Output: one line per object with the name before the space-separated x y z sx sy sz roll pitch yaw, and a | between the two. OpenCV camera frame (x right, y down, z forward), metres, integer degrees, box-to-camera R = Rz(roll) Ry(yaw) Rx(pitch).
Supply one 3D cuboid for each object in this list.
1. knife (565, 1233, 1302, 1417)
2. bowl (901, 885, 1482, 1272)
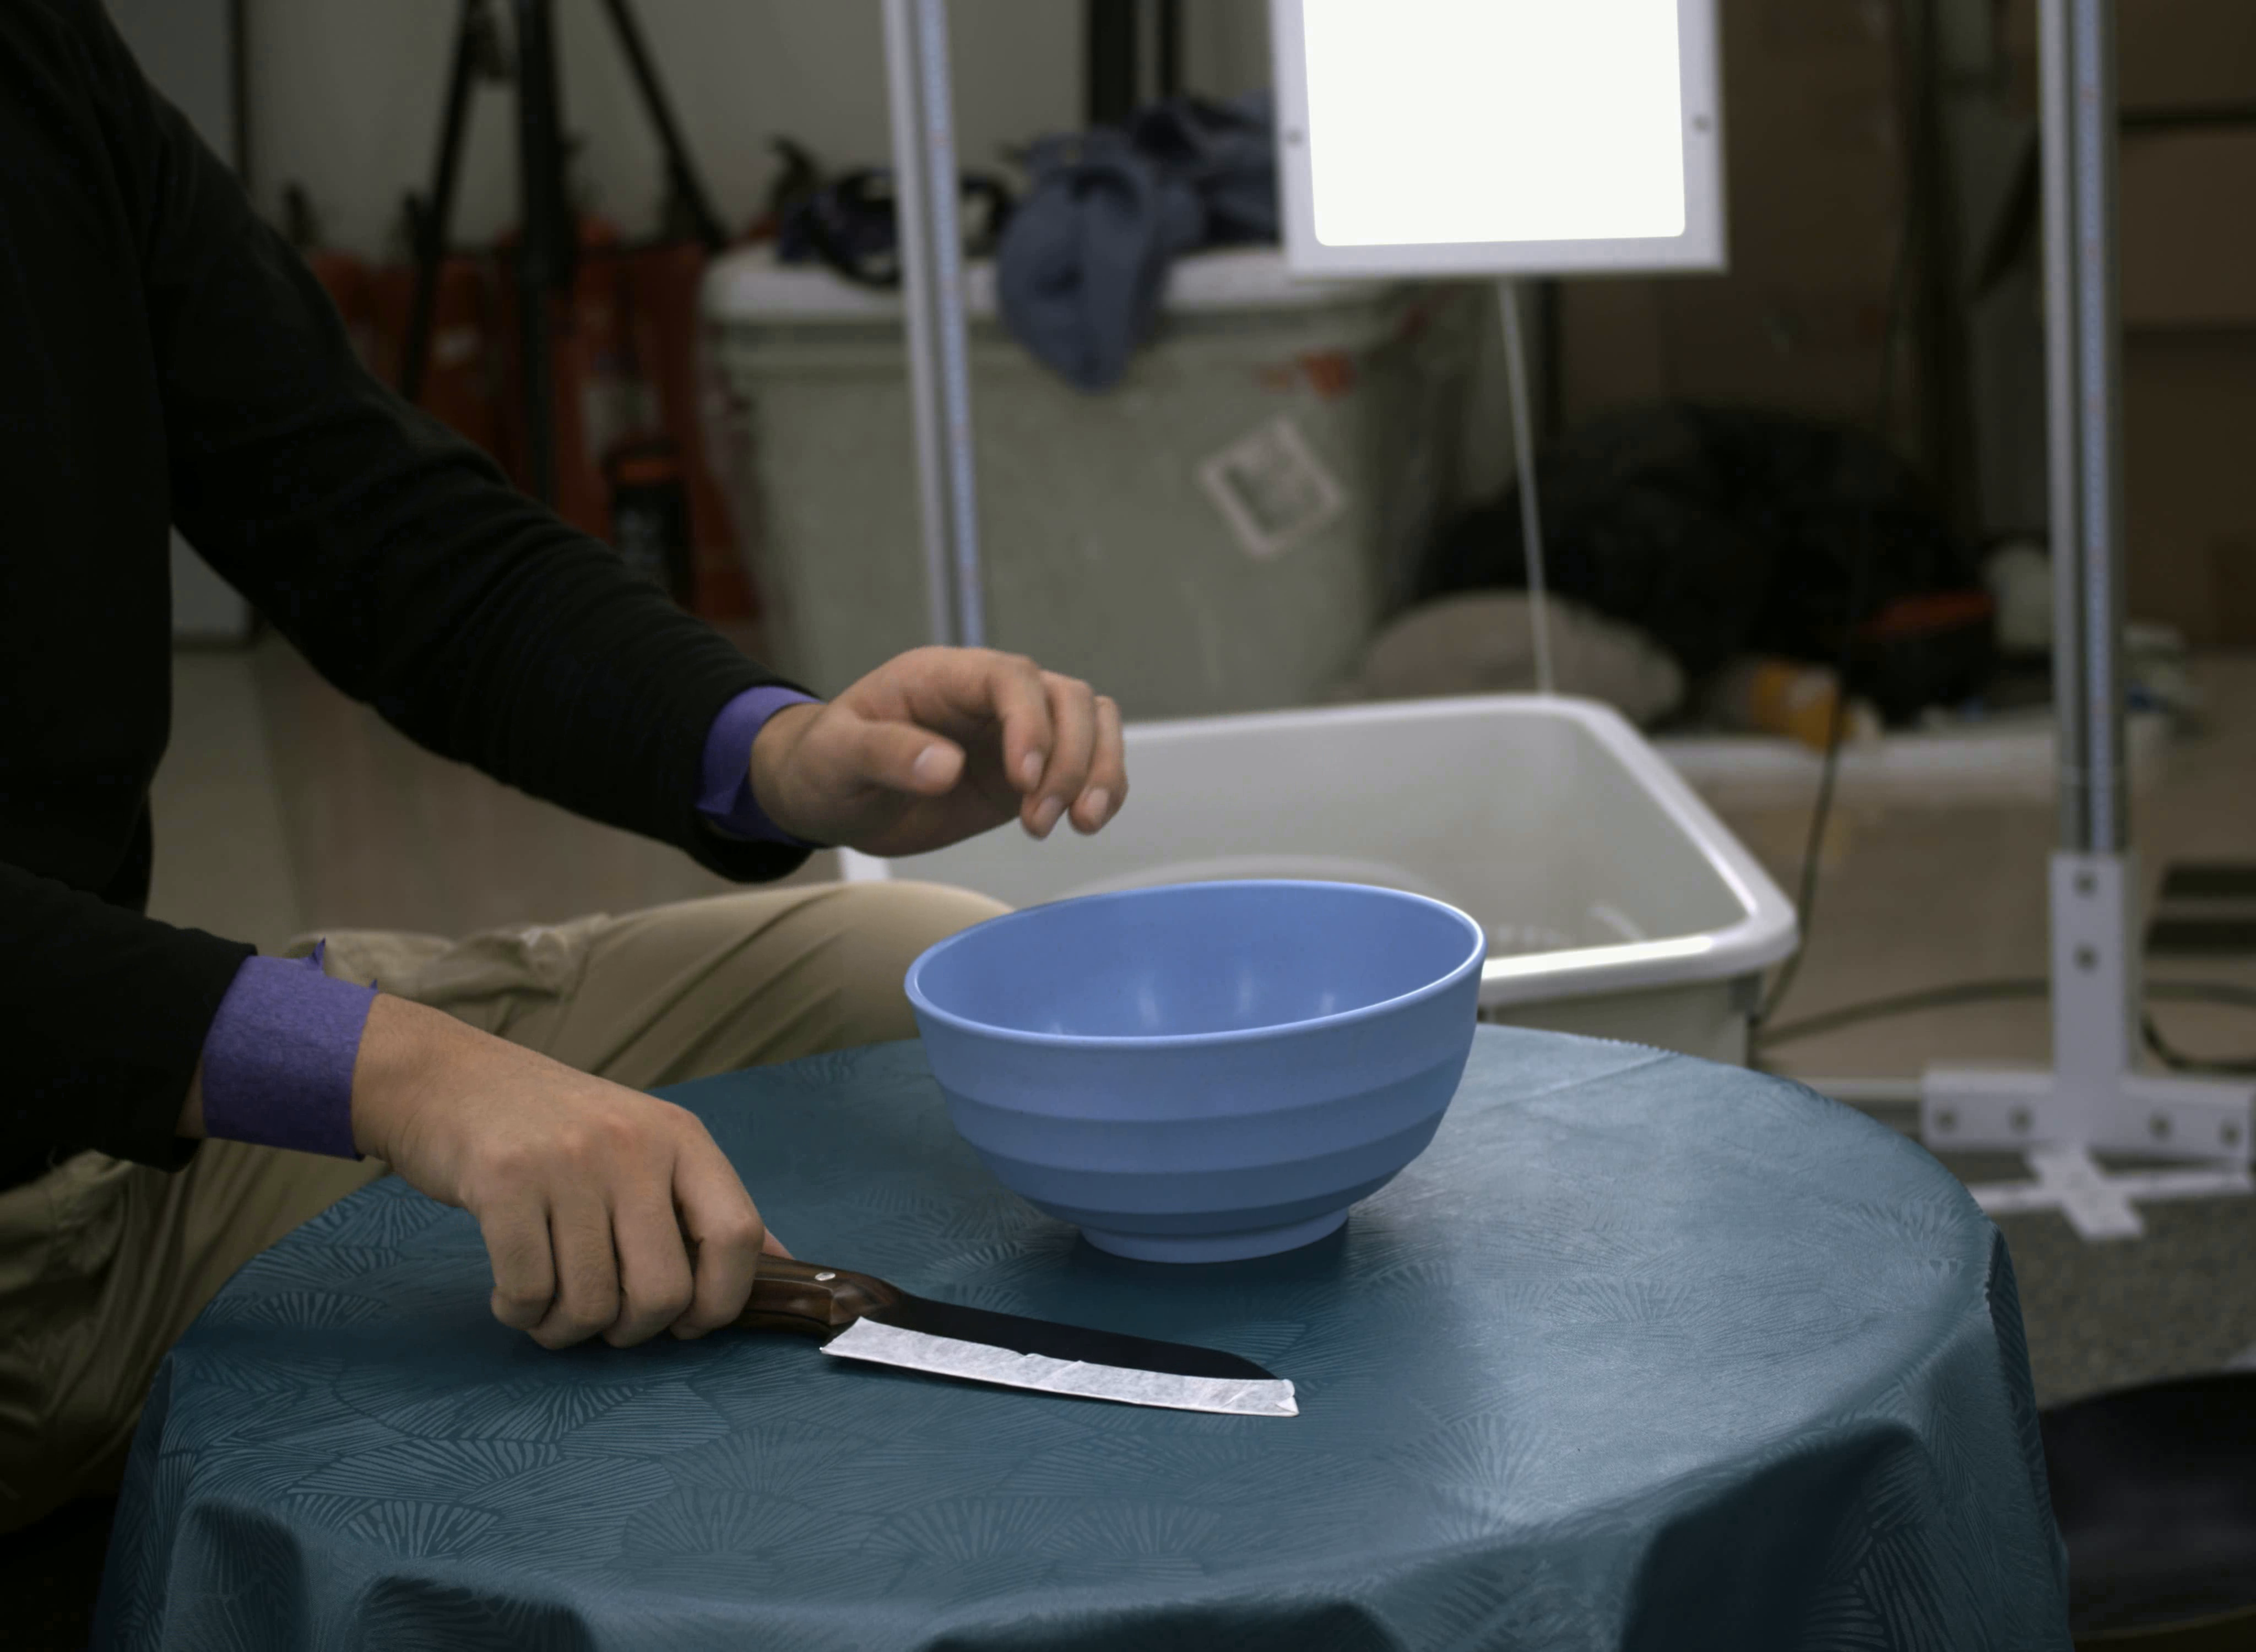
knife | -0.066 0.161 1.754 0.295 0.020 0.049 8 26 35
bowl | 0.026 0.091 1.848 0.196 0.096 0.196 -7 13 0
